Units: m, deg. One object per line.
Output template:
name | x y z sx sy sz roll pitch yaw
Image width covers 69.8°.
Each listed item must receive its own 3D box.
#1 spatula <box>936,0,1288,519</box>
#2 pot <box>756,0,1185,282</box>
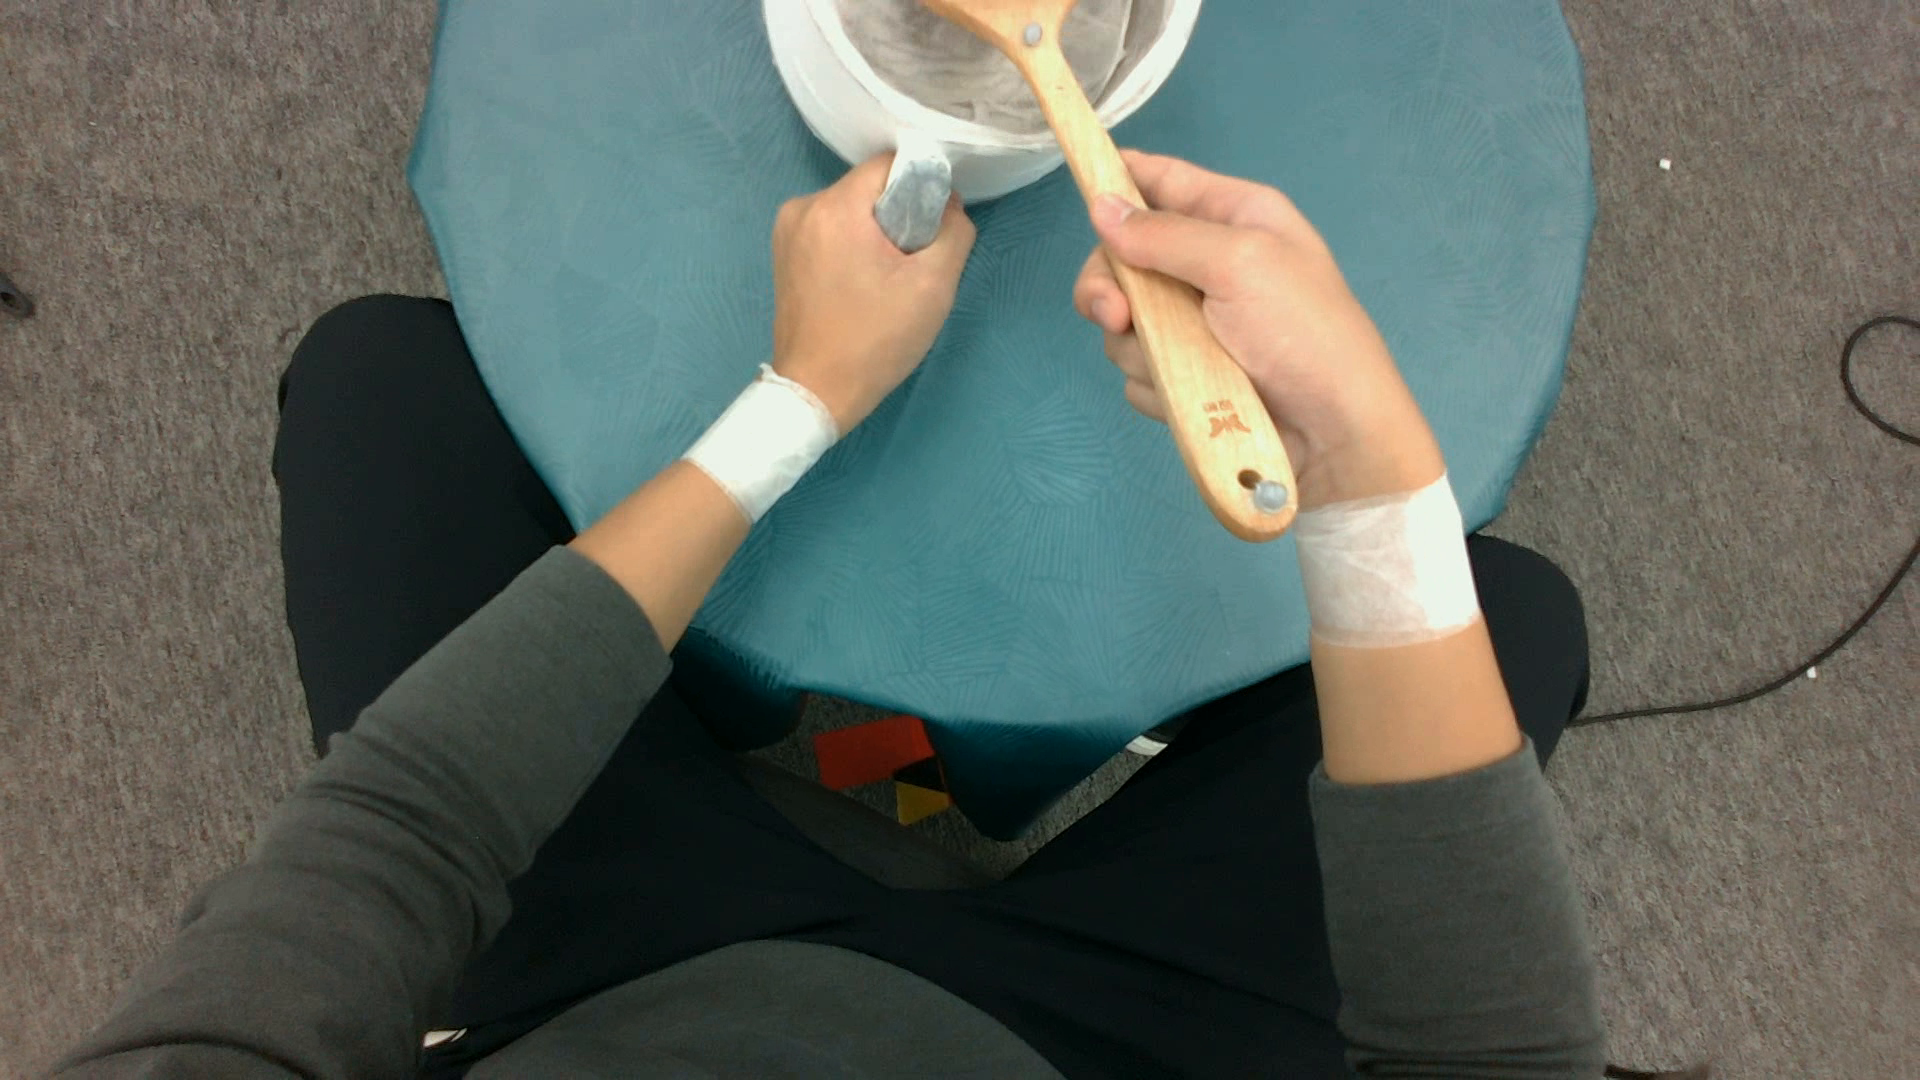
spatula | 0.048 -0.158 0.523 0.096 0.018 0.392 -11 51 -9
pot | -0.008 -0.234 0.620 0.179 0.136 0.234 16 89 -14
